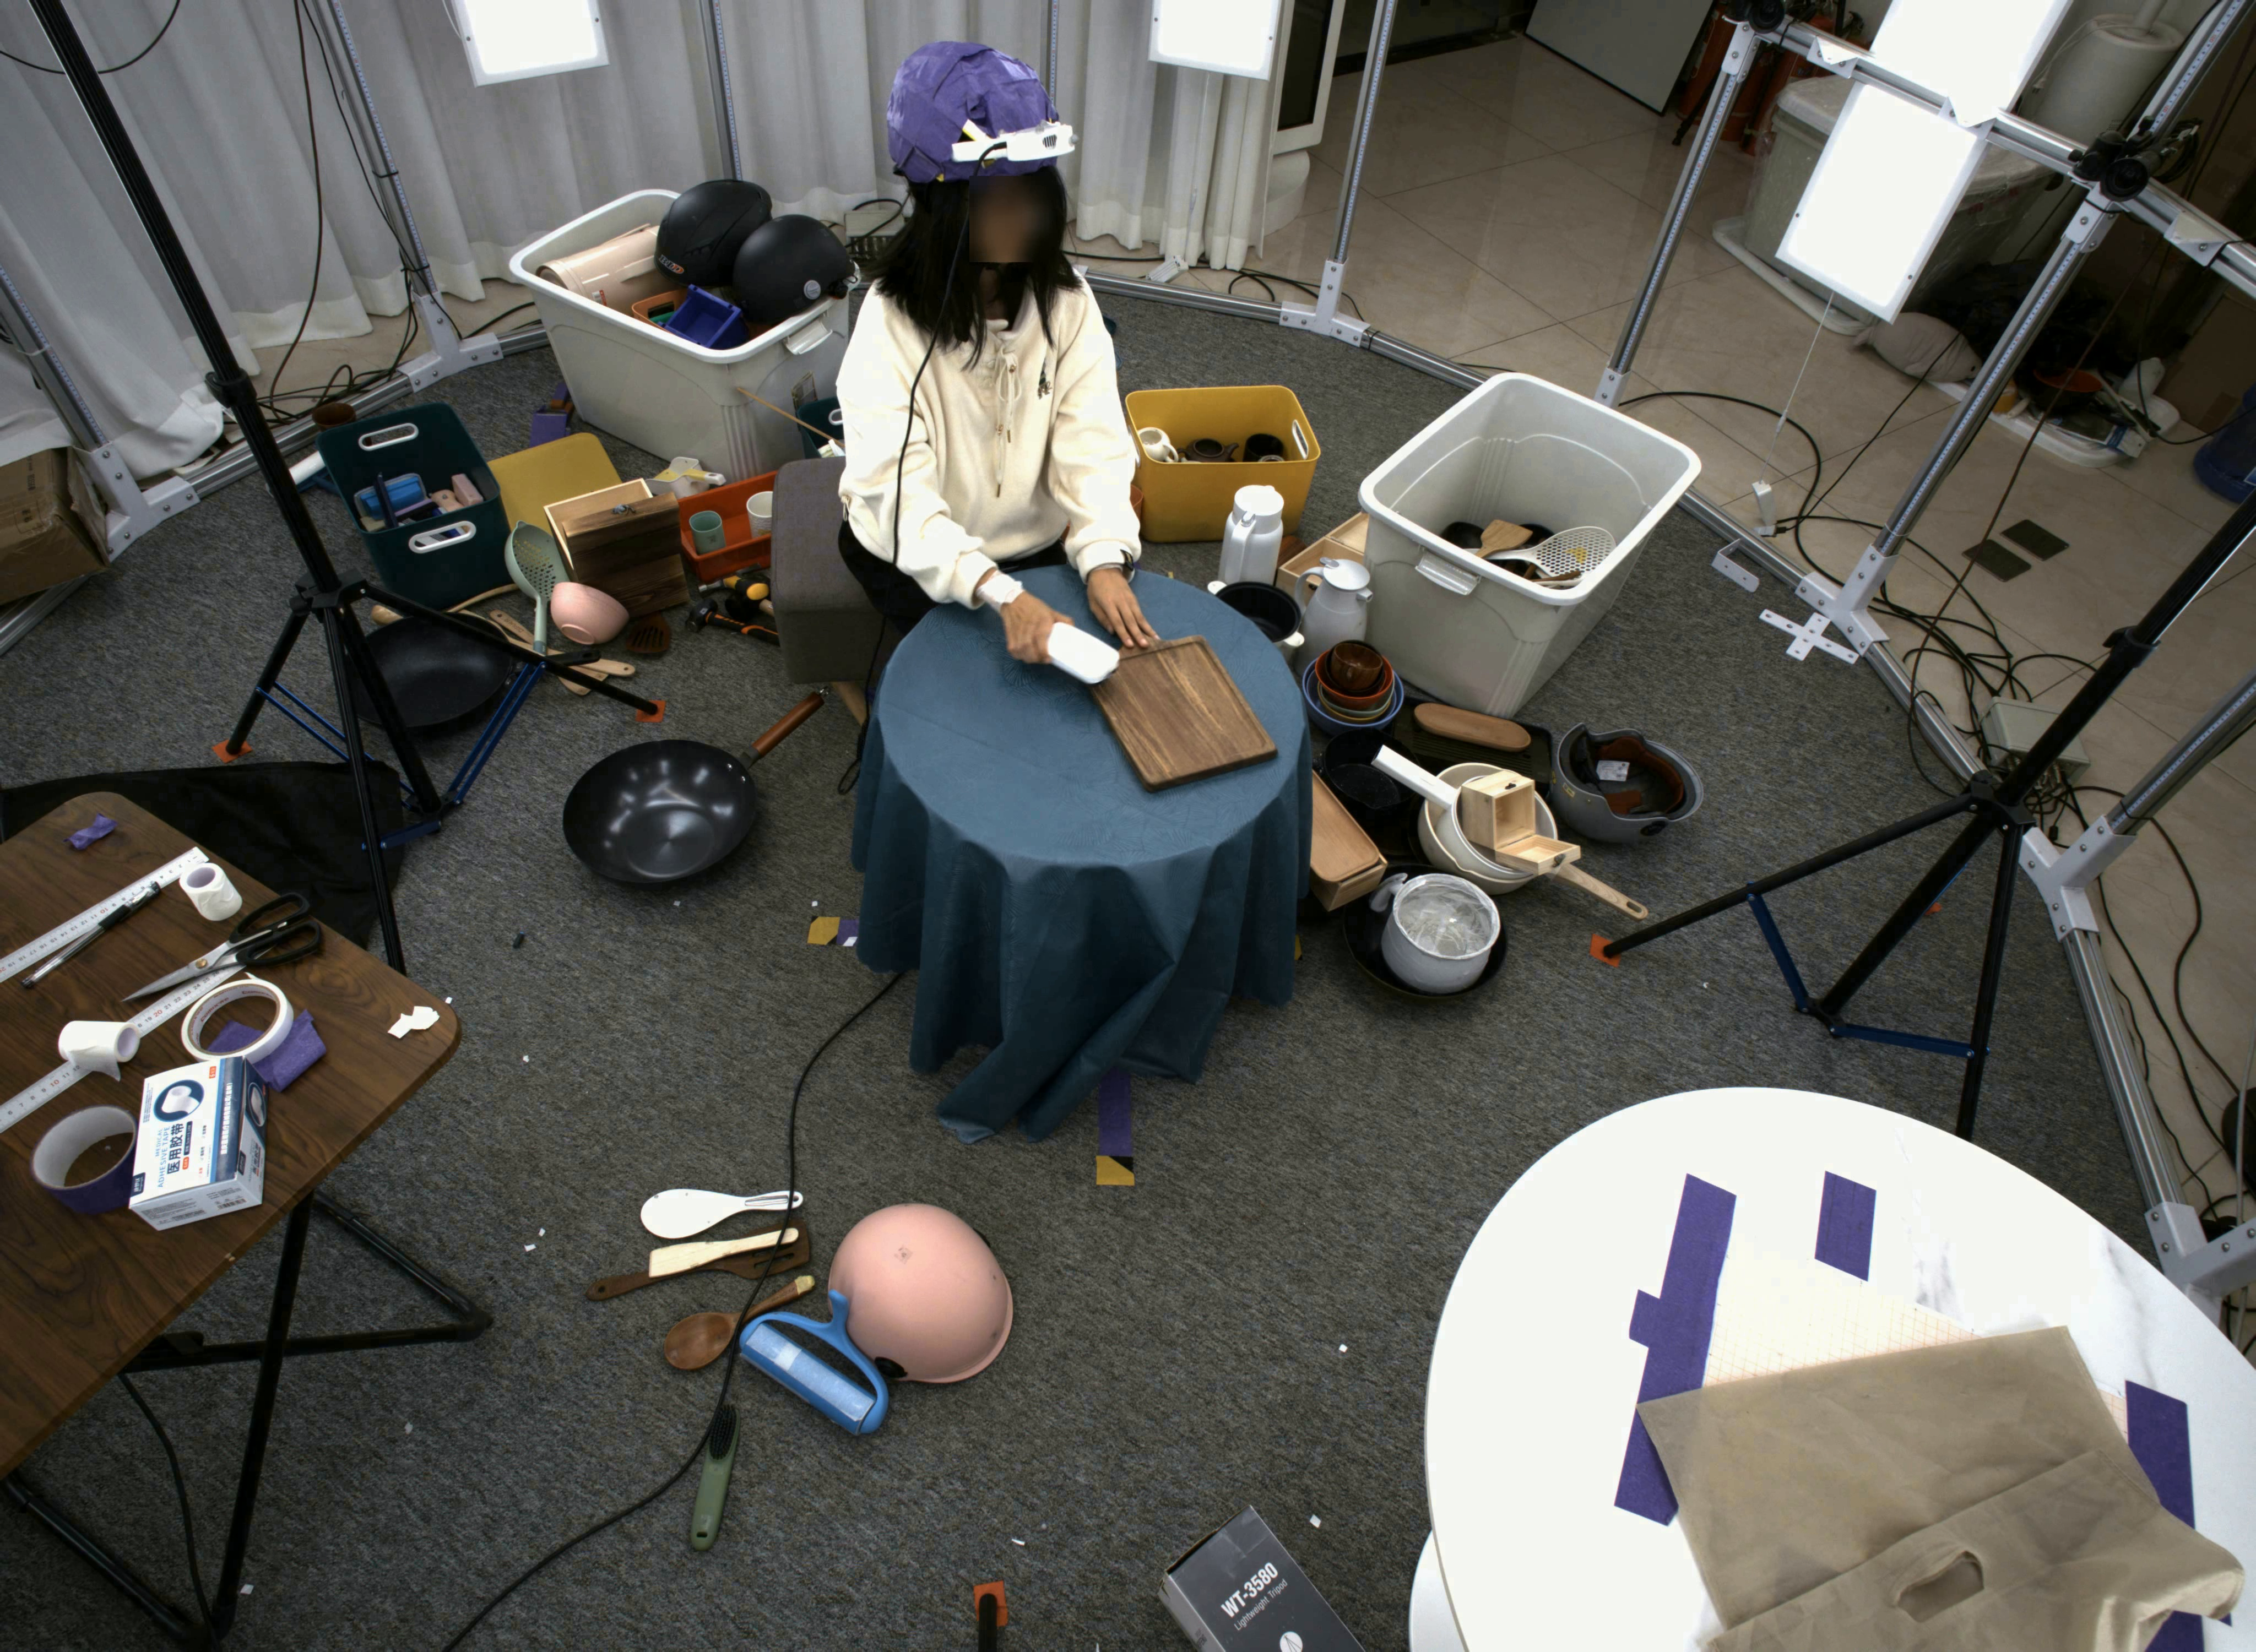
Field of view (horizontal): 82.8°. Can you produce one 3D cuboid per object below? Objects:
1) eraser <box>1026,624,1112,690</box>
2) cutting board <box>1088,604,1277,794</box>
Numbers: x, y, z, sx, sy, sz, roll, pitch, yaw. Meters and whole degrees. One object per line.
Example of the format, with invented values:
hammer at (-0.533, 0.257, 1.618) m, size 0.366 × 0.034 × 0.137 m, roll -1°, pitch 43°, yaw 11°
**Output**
eraser at (-0.082, -0.242, 1.814) m, size 0.064 × 0.033 × 0.133 m, roll -39°, pitch 54°, yaw -25°
cutting board at (0.049, -0.200, 1.833) m, size 0.201 × 0.022 × 0.360 m, roll -16°, pitch 52°, yaw -17°
